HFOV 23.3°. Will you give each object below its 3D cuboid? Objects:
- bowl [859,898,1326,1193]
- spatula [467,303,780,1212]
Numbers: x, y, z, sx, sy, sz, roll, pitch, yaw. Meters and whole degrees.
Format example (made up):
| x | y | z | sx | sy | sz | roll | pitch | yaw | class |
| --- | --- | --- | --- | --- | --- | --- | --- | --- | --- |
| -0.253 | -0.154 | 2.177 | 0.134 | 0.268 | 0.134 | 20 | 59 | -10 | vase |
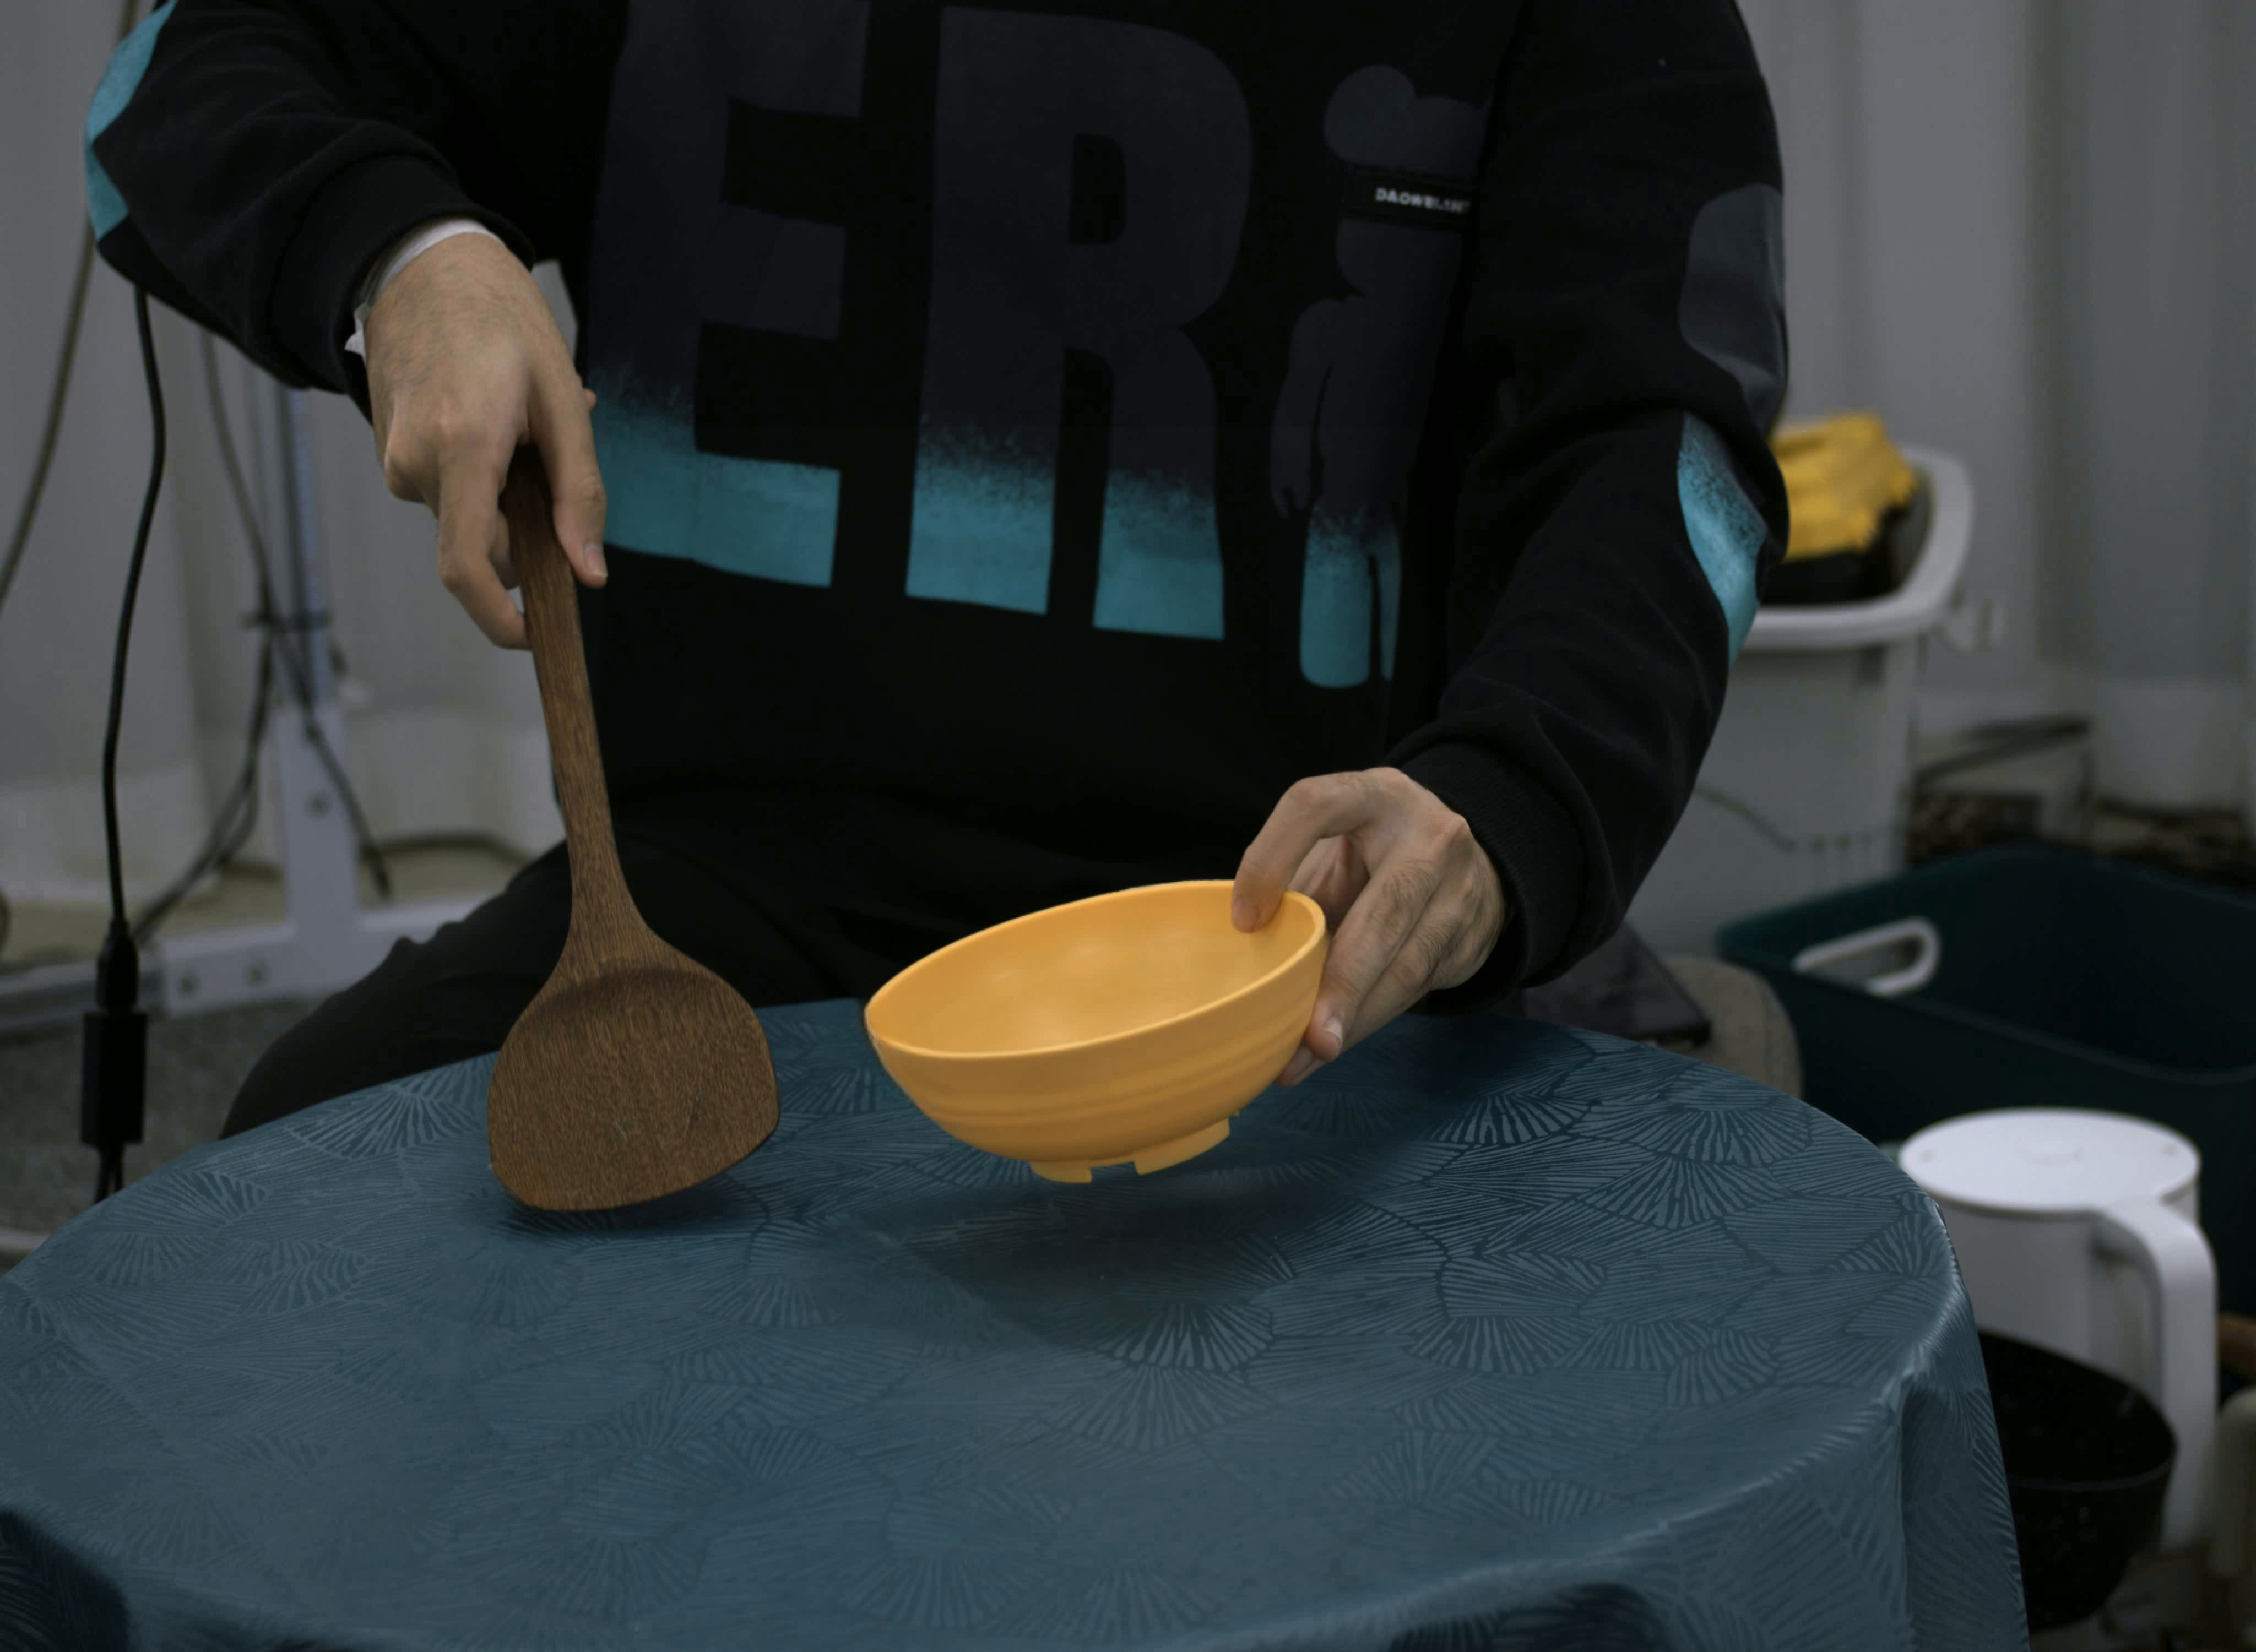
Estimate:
| x | y | z | sx | sy | sz | roll | pitch | yaw | class |
| --- | --- | --- | --- | --- | --- | --- | --- | --- | --- |
| -0.006 | 0.073 | 1.670 | 0.145 | 0.060 | 0.146 | -10 | 15 | 2 | bowl |
| -0.185 | -0.034 | 1.815 | 0.096 | 0.015 | 0.392 | -15 | 53 | 2 | spatula |
